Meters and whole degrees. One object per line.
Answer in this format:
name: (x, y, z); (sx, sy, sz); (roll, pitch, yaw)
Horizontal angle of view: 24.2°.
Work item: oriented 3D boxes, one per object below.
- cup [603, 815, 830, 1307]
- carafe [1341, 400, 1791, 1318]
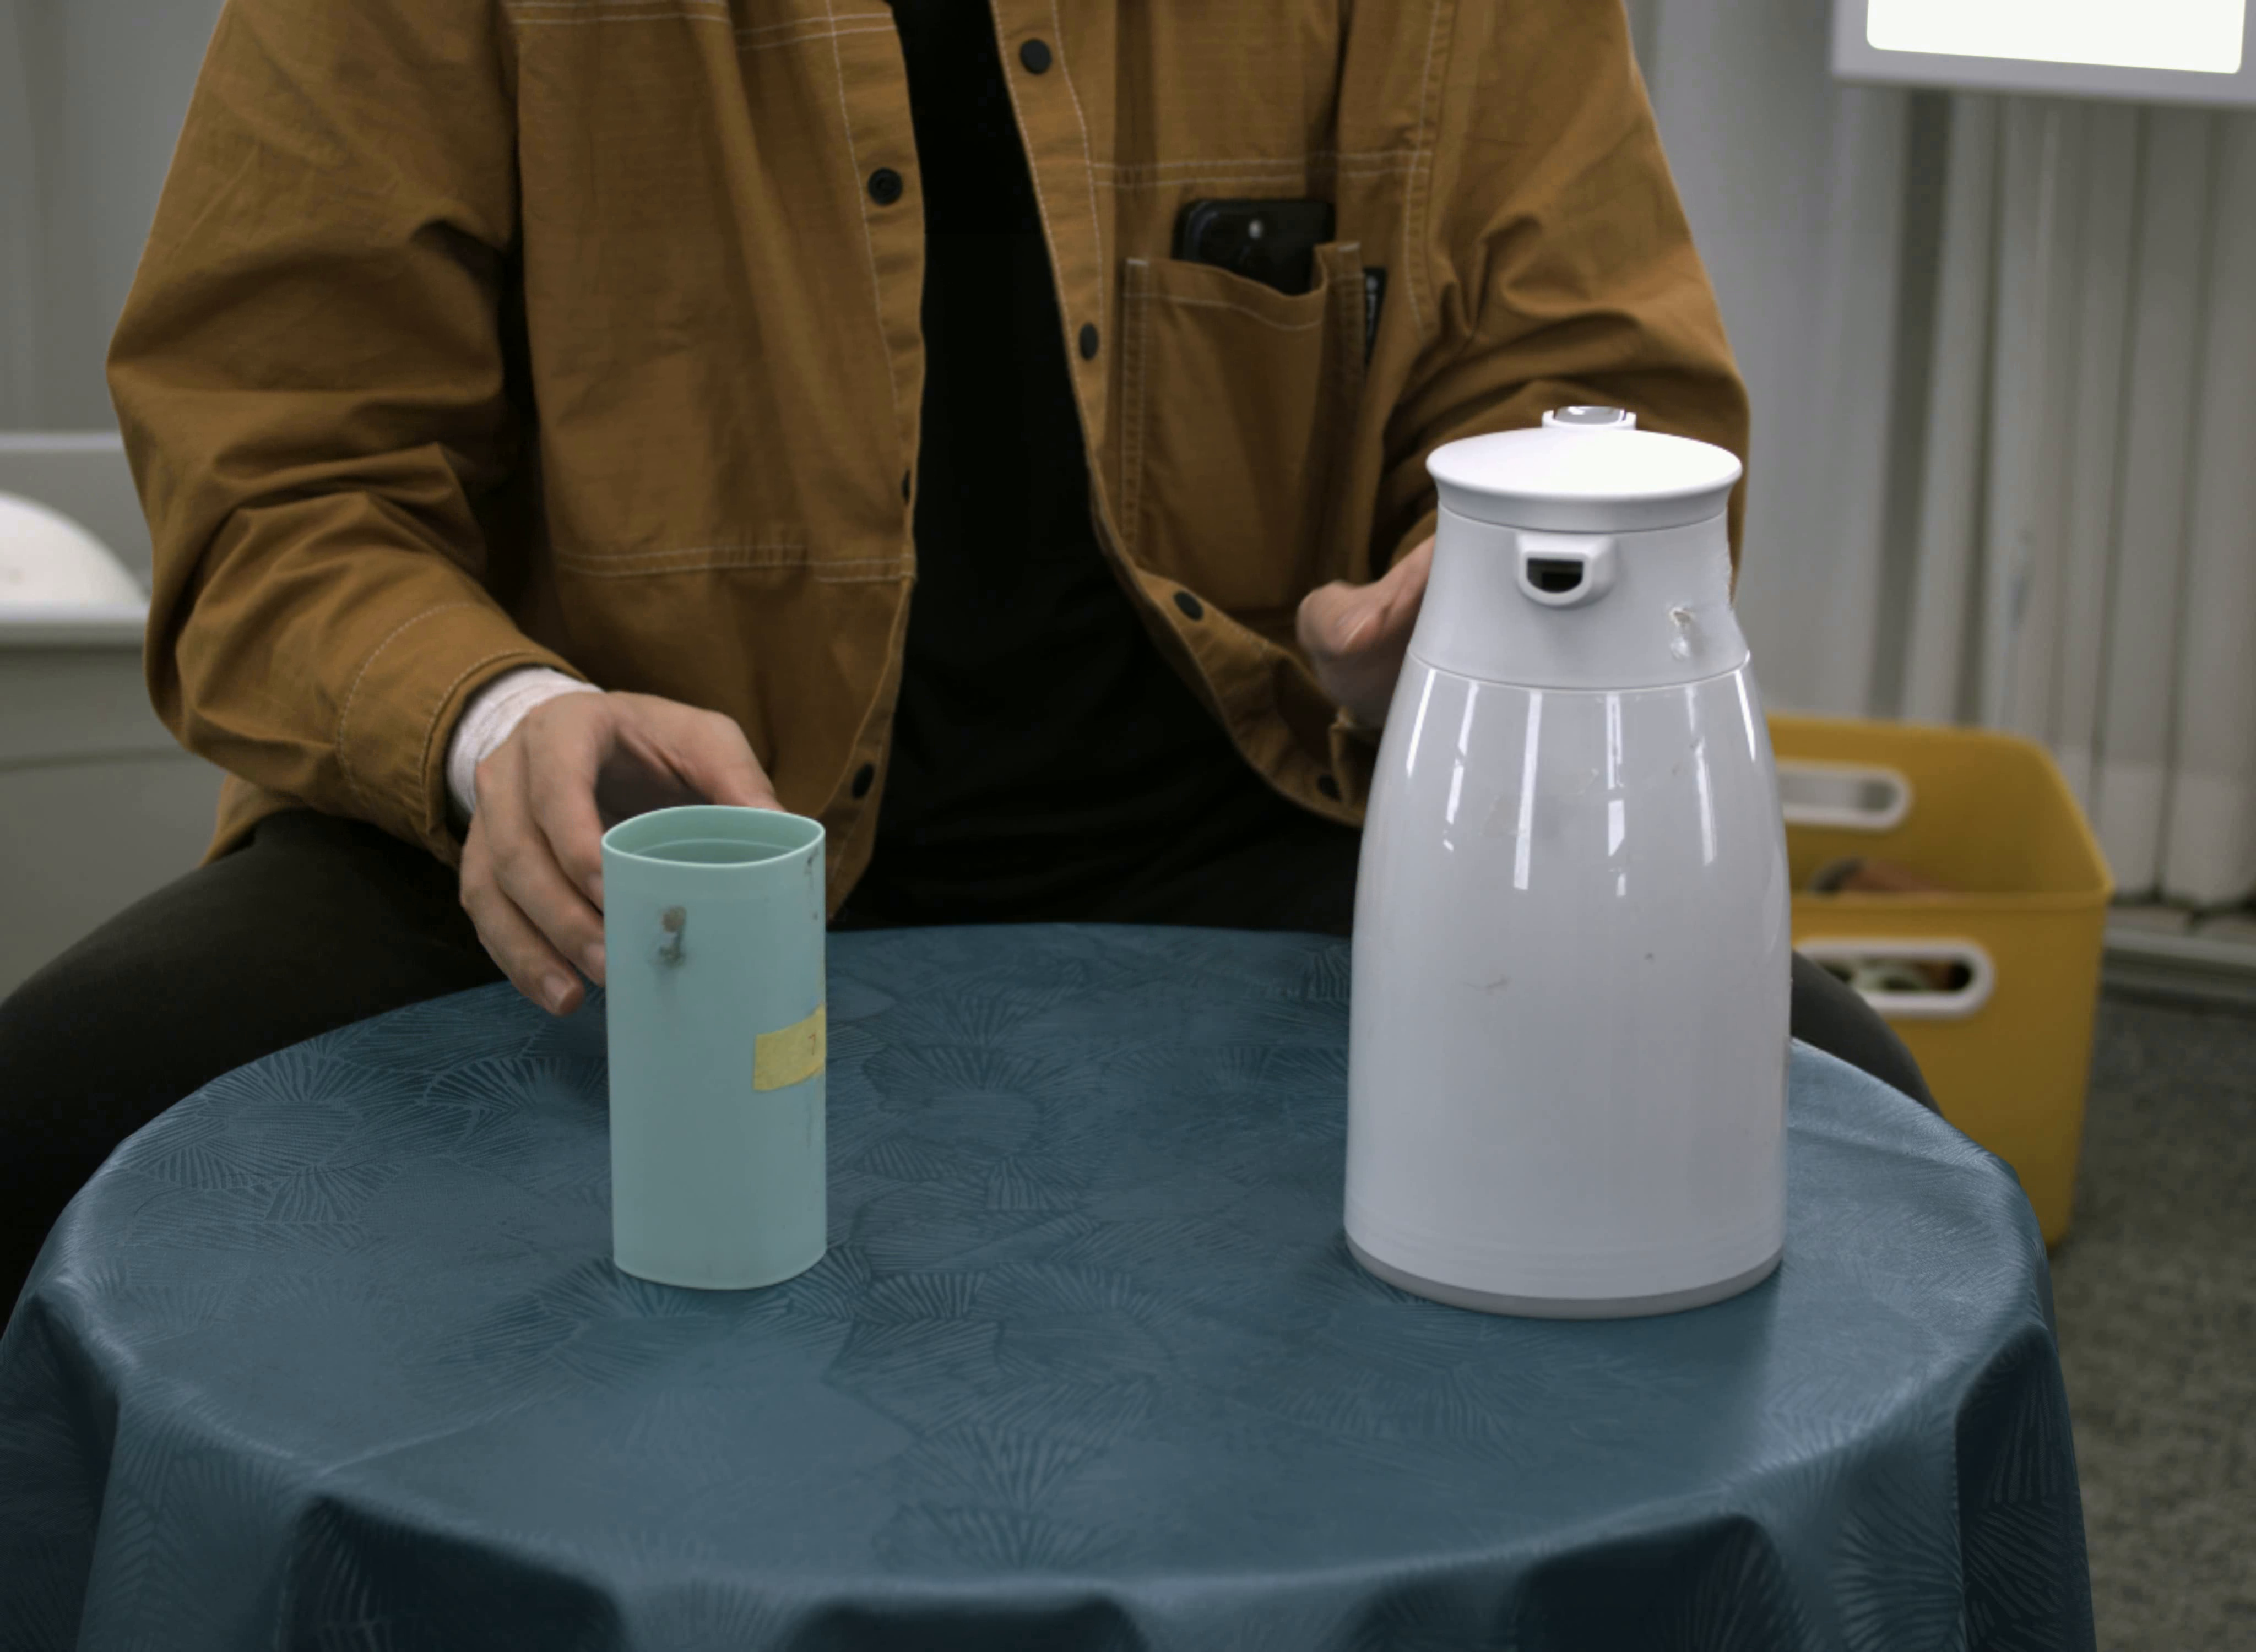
cup: (-0.121, 0.068, 1.547); (0.066, 0.133, 0.066); (1, 16, 0)
carafe: (0.133, 0.001, 1.564); (0.131, 0.250, 0.167); (3, 16, 10)
